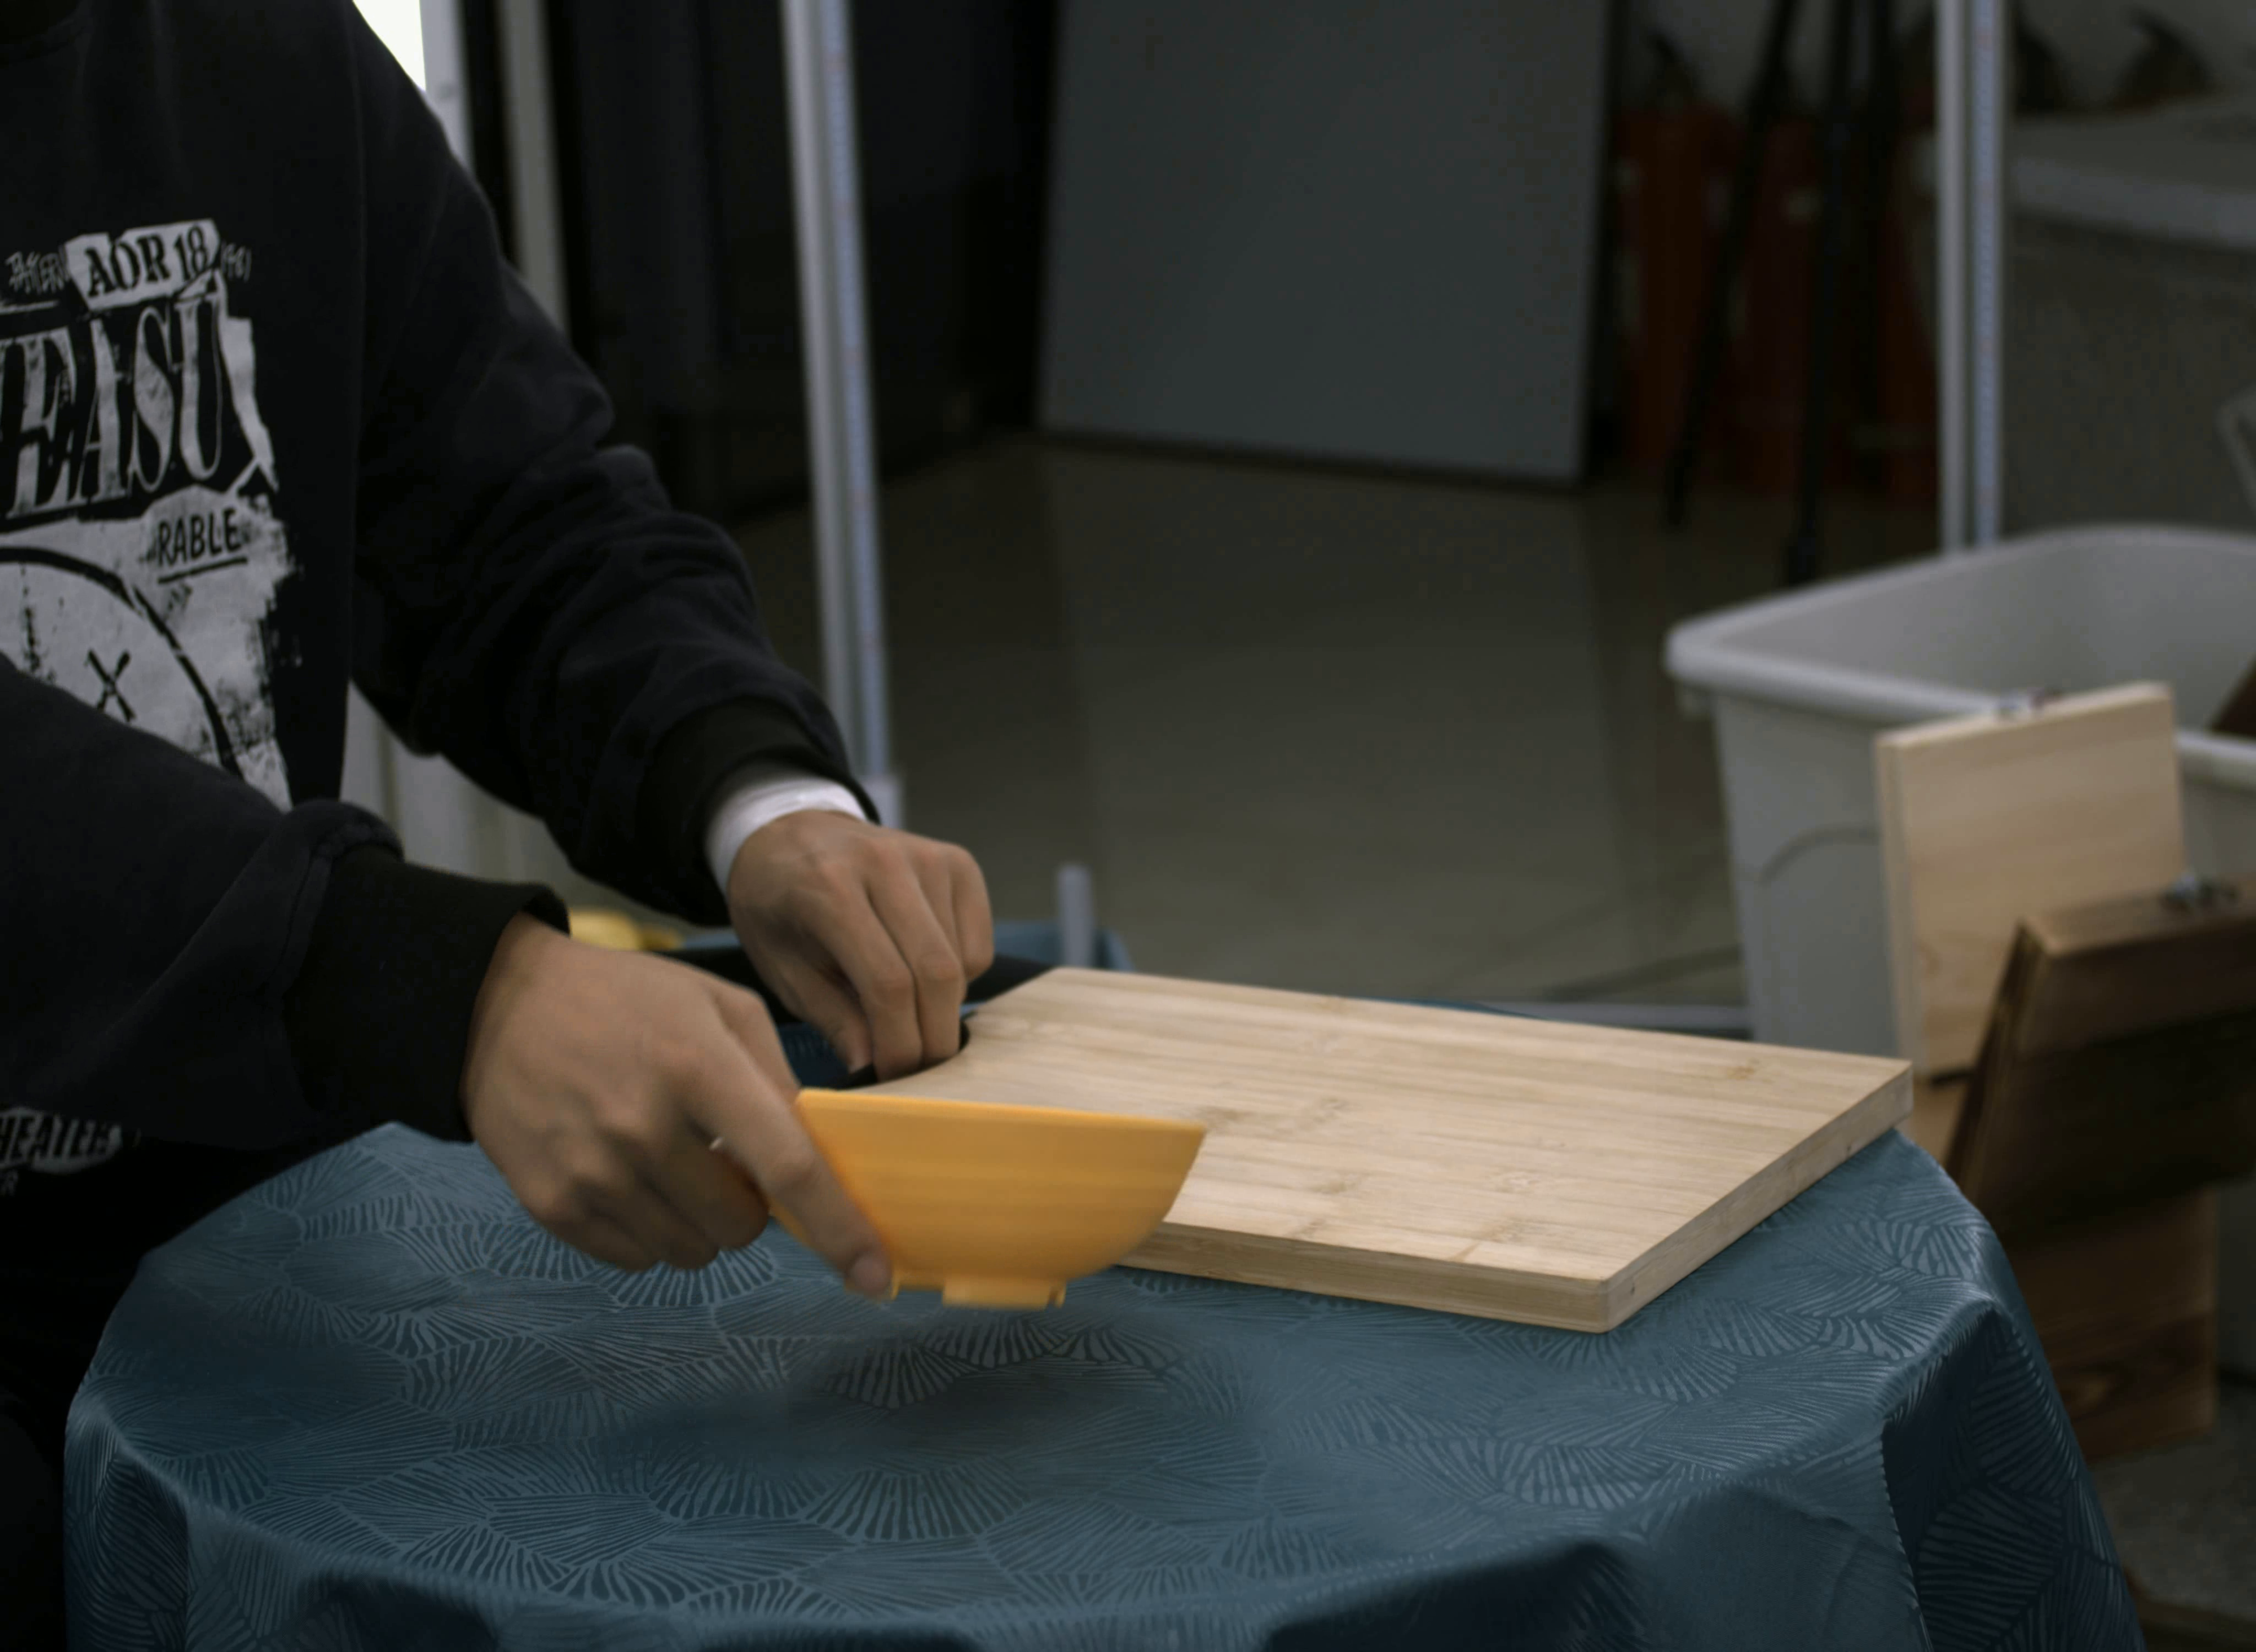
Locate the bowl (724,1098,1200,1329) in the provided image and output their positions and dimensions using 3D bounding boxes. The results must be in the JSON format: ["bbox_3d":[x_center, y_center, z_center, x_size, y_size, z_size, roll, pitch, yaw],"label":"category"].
[{"bbox_3d":[-0.051,0.116,1.604,0.143,0.061,0.145,4,-3,-1],"label":"bowl"}]

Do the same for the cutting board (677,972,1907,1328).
[{"bbox_3d":[0.056,0.103,1.795,0.350,0.024,0.247,4,16,31],"label":"cutting board"}]
